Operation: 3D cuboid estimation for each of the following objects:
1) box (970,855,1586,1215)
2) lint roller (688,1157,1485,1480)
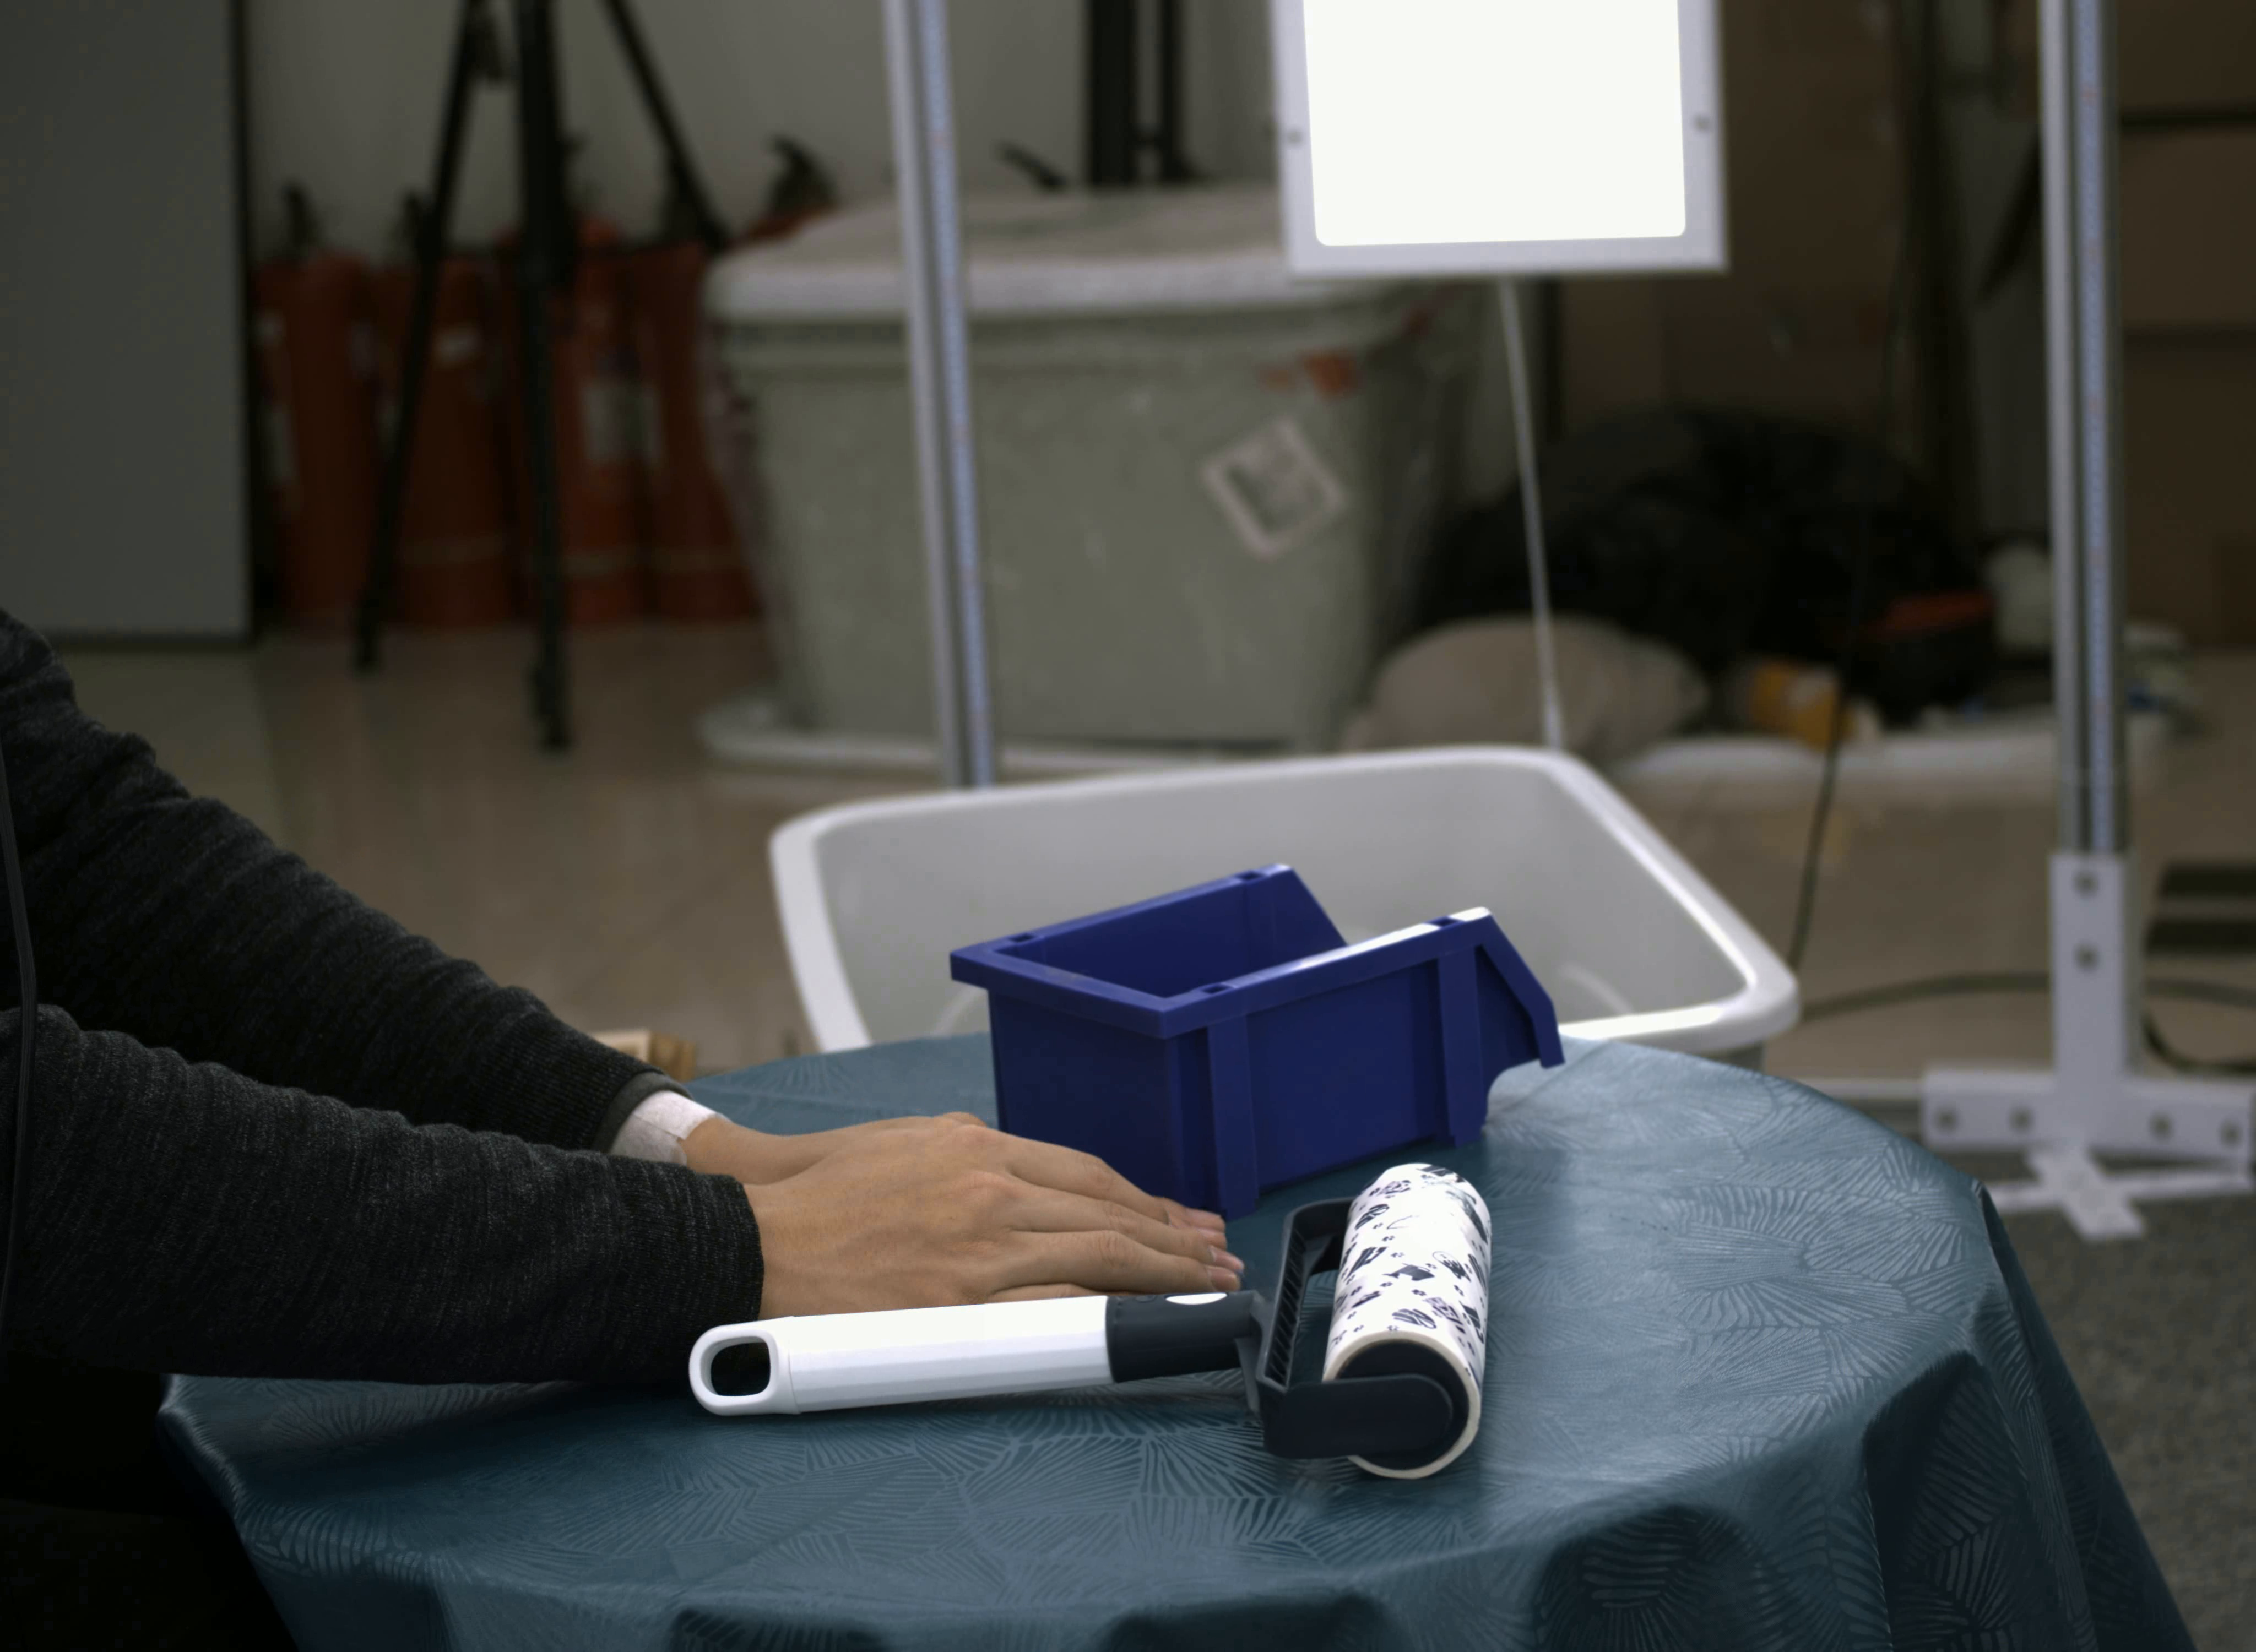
[{"bbox_3d":[0.053,0.070,1.939,0.175,0.082,0.127,-17,18,-33],"label":"box"},{"bbox_3d":[-0.014,0.156,1.689,0.248,0.050,0.175,-4,15,7],"label":"lint roller"}]
